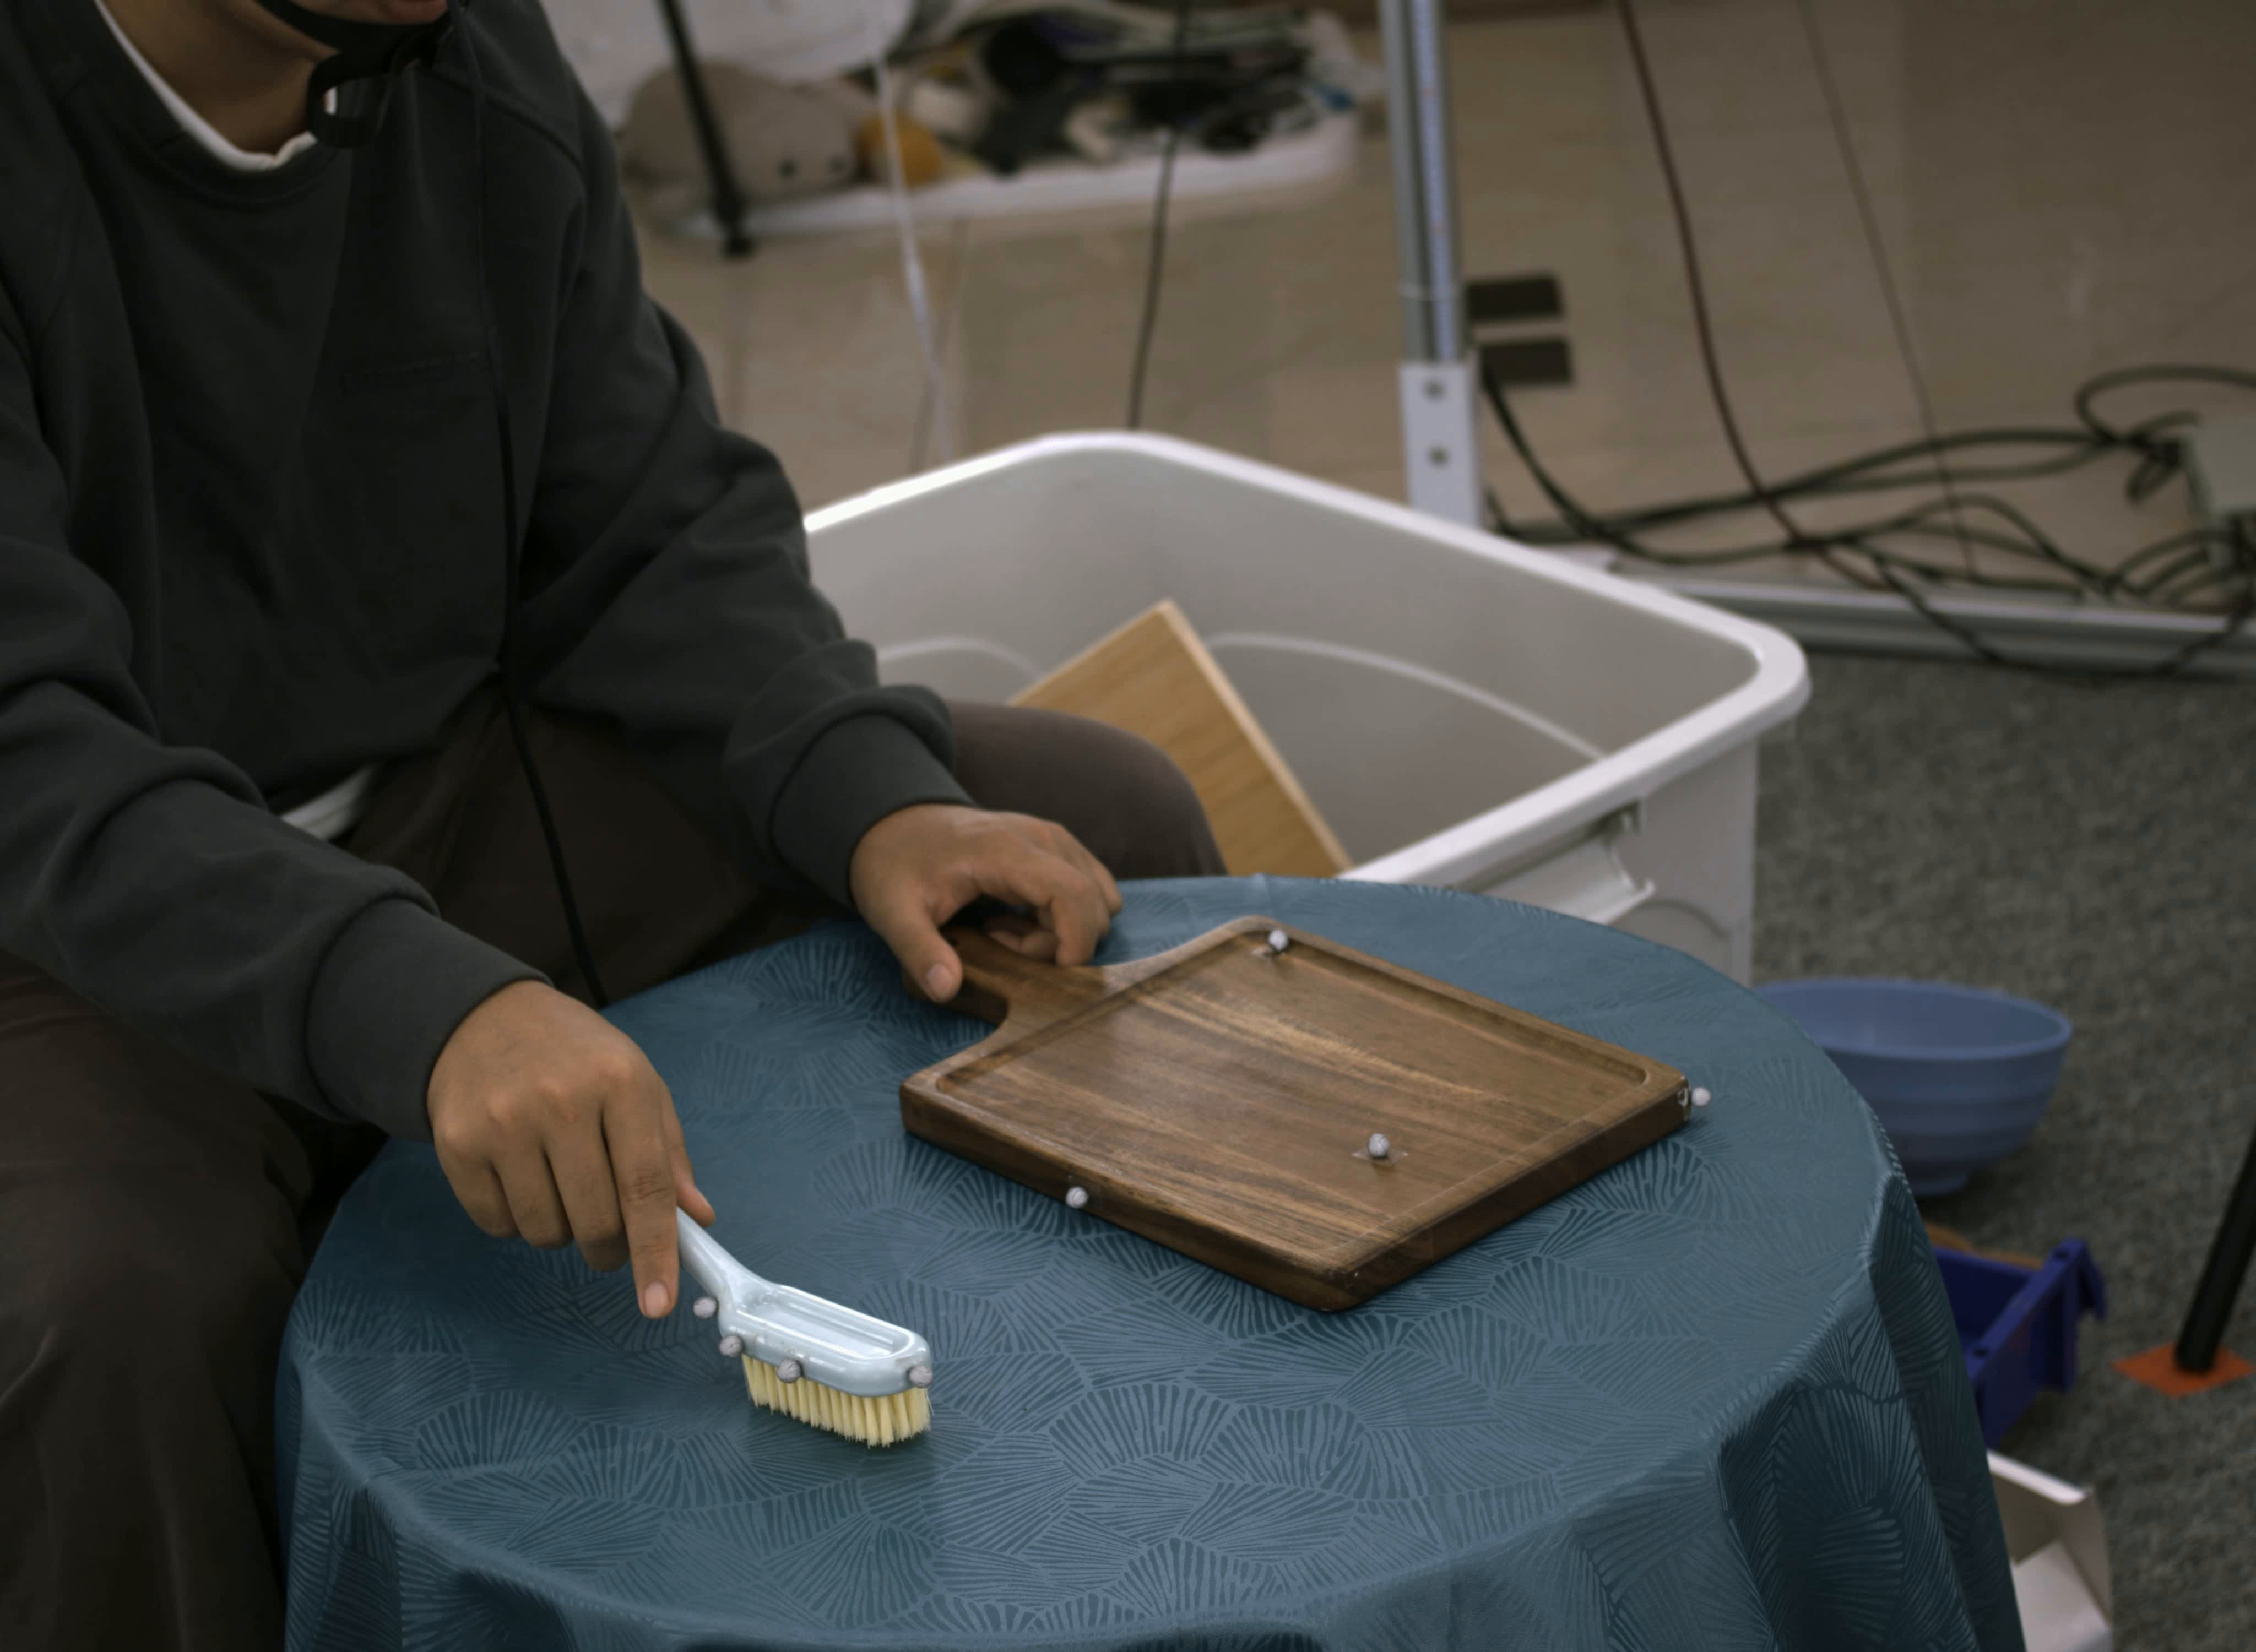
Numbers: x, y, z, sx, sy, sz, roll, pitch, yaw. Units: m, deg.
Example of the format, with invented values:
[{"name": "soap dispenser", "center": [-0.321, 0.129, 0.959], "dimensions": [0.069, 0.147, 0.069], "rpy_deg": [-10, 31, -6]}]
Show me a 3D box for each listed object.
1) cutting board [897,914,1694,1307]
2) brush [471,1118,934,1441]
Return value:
[{"name": "cutting board", "center": [0.031, 0.093, 2.217], "dimensions": [0.199, 0.023, 0.349], "rpy_deg": [-25, 30, -35]}, {"name": "brush", "center": [-0.157, 0.162, 2.052], "dimensions": [0.226, 0.050, 0.037], "rpy_deg": [28, 40, 33]}]
